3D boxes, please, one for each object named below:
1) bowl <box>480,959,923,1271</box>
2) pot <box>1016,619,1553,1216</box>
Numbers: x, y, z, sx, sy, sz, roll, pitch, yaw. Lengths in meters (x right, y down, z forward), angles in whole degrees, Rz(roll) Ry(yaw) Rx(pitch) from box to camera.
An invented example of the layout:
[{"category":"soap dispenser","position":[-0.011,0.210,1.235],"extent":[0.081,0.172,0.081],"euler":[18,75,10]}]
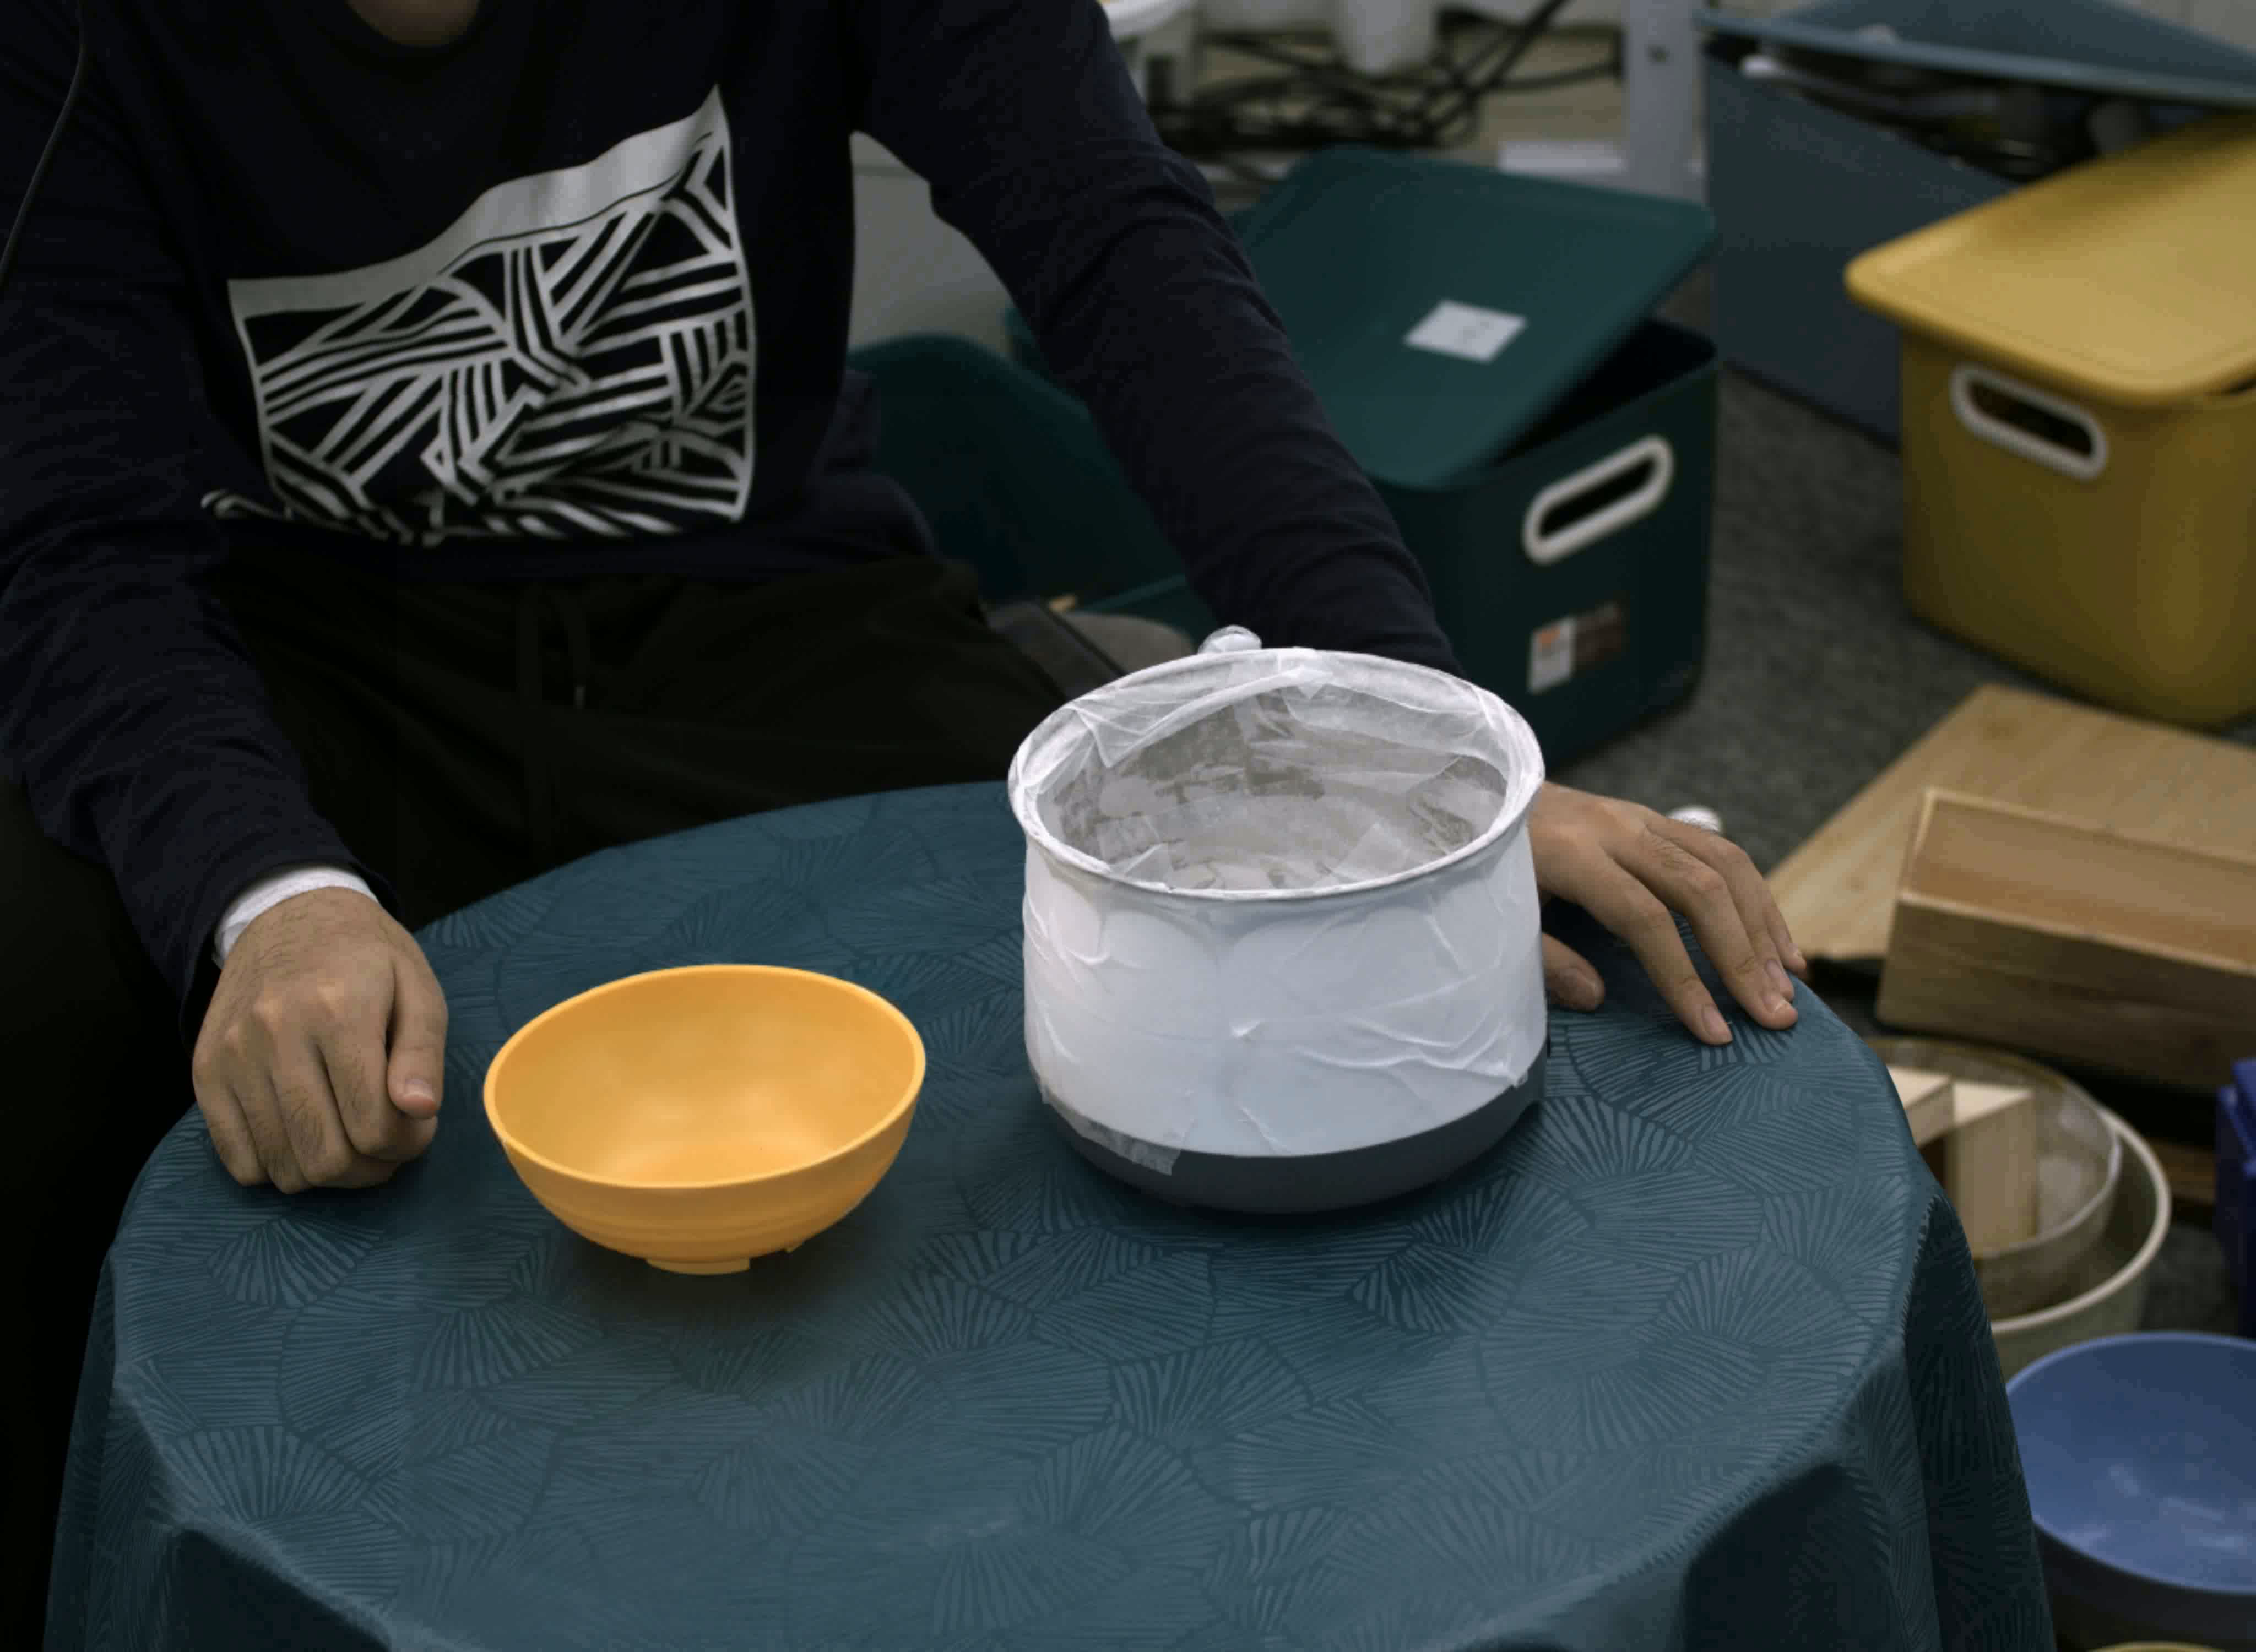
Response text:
[{"category":"bowl","position":[-0.138,0.104,1.842],"extent":[0.144,0.059,0.147],"euler":[-1,27,1]},{"category":"pot","position":[0.047,0.024,1.898],"extent":[0.178,0.135,0.237],"euler":[-4,28,-8]}]
